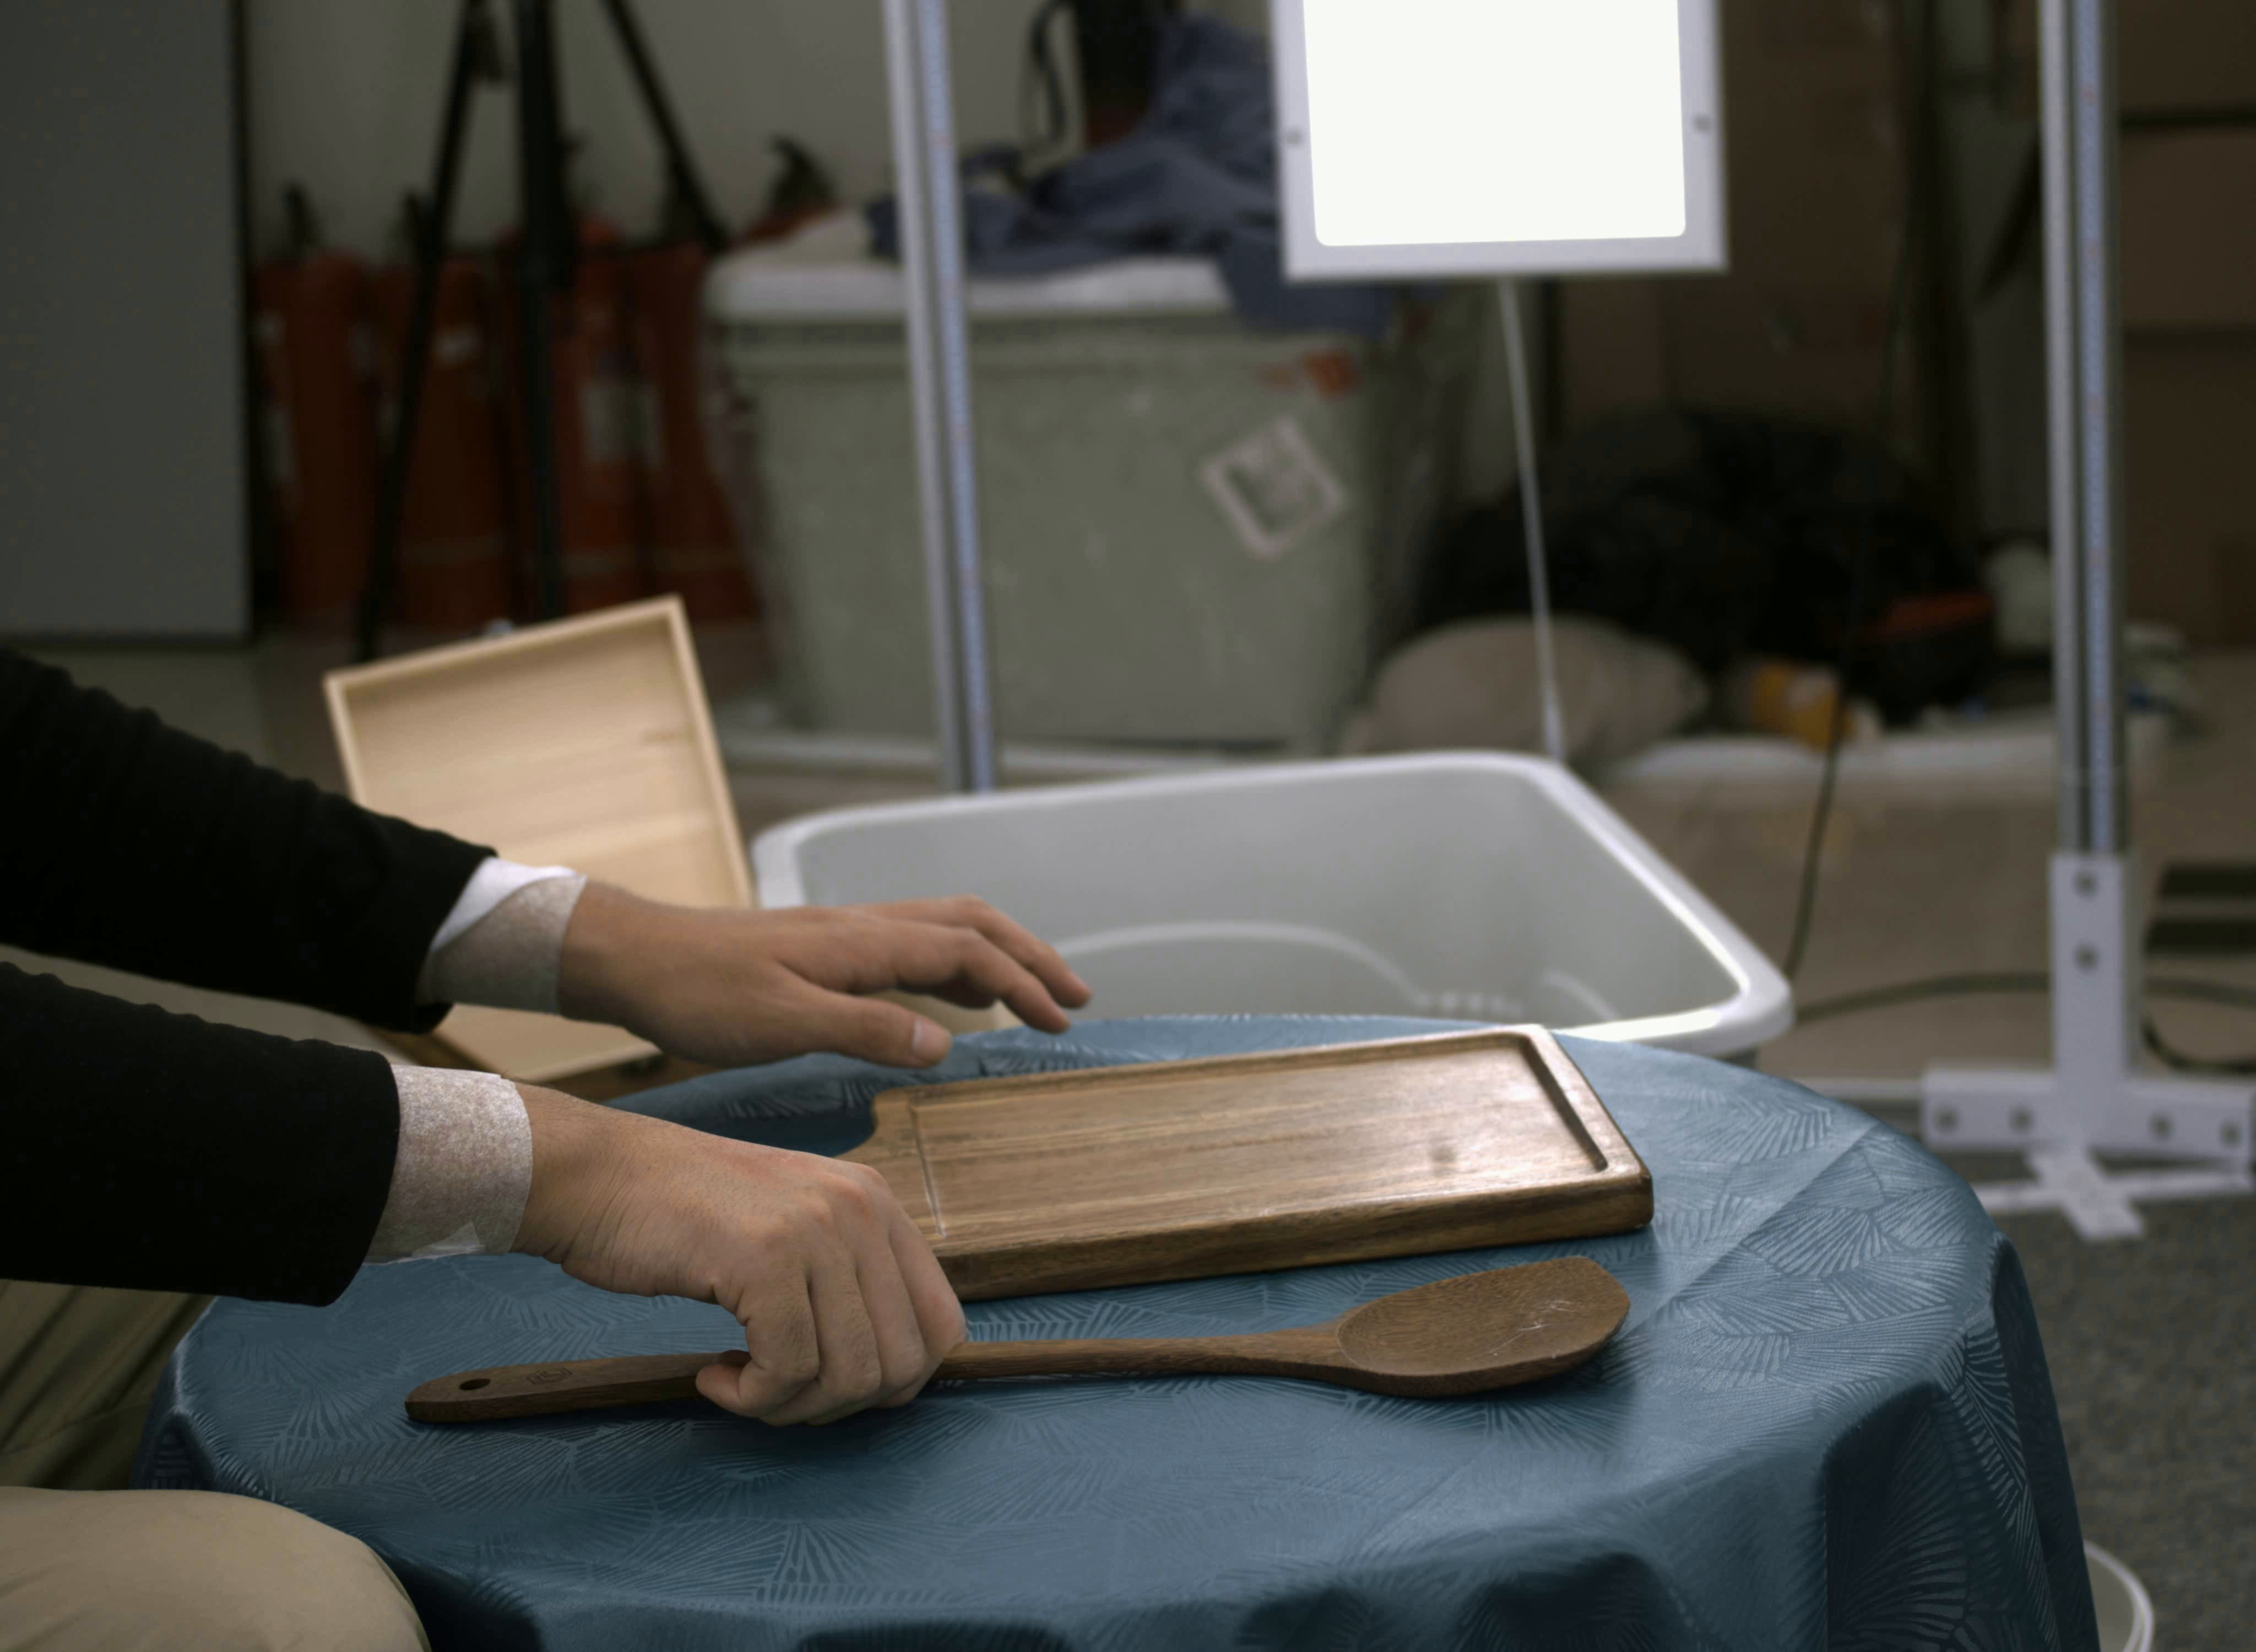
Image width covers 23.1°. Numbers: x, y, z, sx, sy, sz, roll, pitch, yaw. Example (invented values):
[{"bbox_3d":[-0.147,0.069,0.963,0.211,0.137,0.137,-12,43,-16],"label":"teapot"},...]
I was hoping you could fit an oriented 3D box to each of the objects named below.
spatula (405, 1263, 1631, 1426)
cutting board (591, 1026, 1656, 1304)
[{"bbox_3d":[-0.036,0.166,1.718,0.386,0.016,0.095,-4,14,5],"label":"spatula"},{"bbox_3d":[-0.009,0.119,1.891,0.350,0.023,0.201,-6,14,-3],"label":"cutting board"}]
